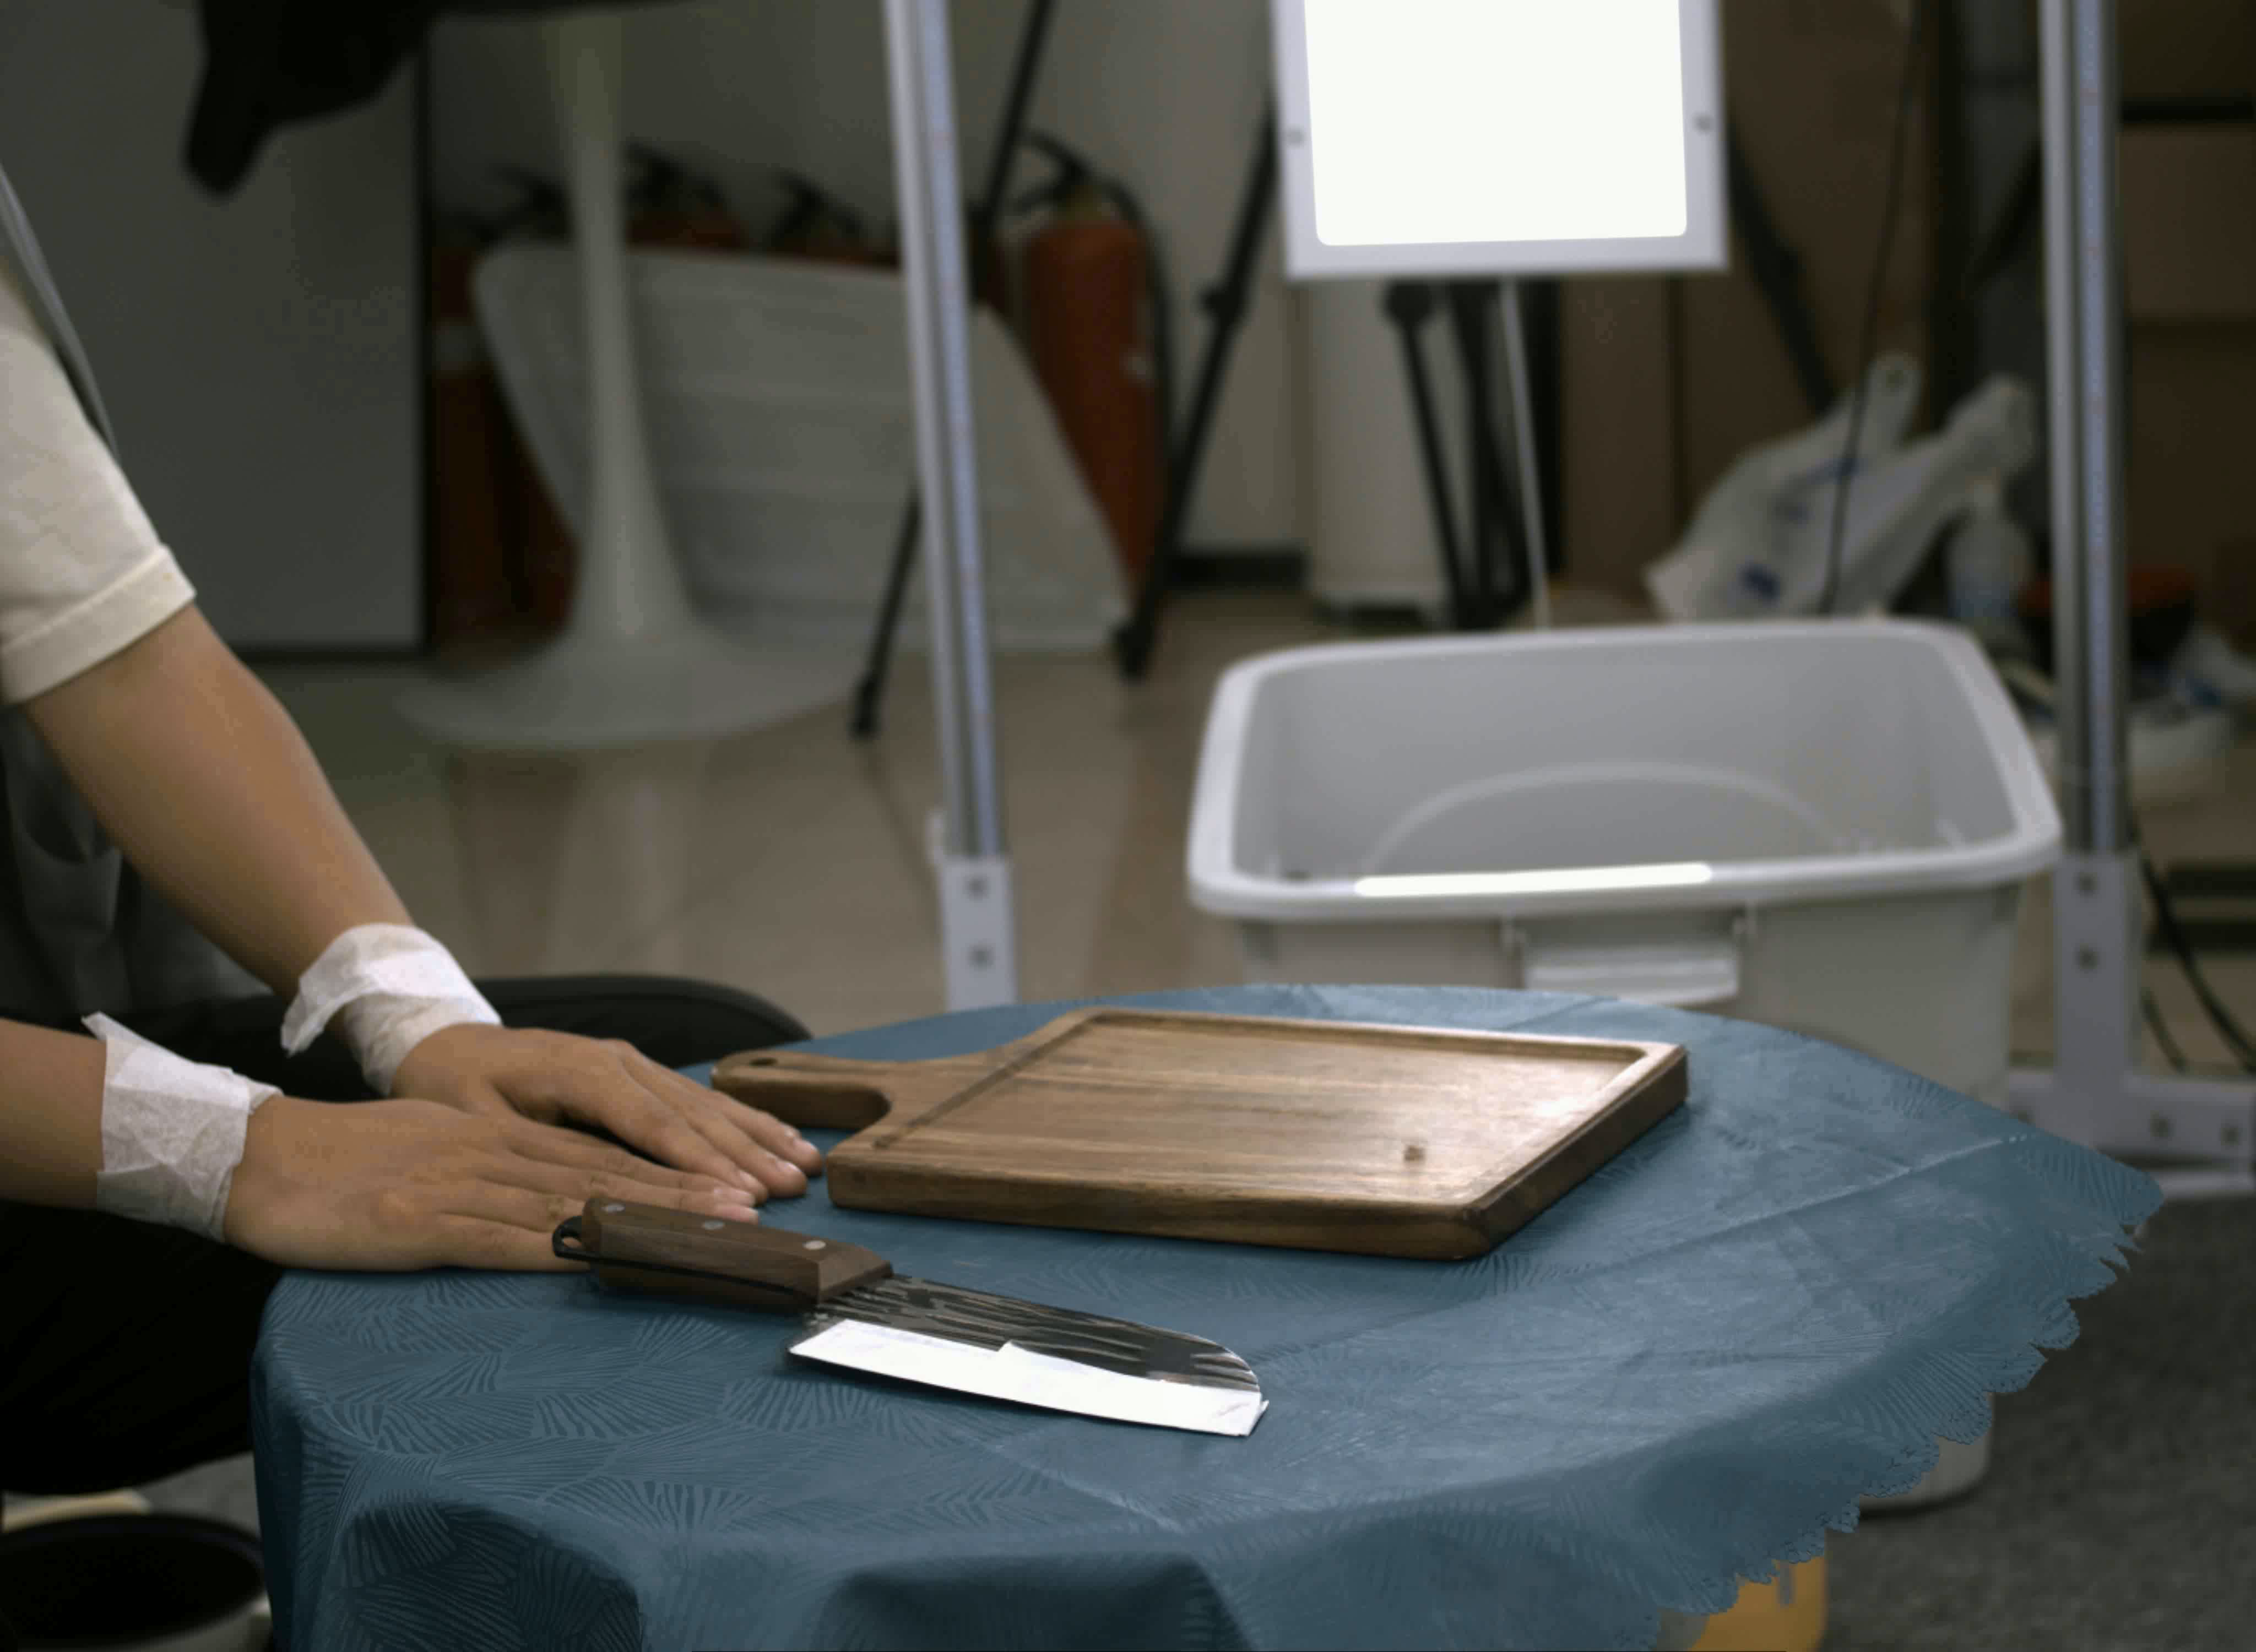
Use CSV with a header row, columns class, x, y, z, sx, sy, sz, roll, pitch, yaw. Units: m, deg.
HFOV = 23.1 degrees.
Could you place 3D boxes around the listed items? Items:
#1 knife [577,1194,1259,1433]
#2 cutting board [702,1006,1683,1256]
class,x,y,z,sx,sy,sz,roll,pitch,yaw
knife,-0.075,0.157,1.757,0.305,0.024,0.066,8,21,36
cutting board,0.002,0.102,1.954,0.359,0.023,0.196,2,15,30
